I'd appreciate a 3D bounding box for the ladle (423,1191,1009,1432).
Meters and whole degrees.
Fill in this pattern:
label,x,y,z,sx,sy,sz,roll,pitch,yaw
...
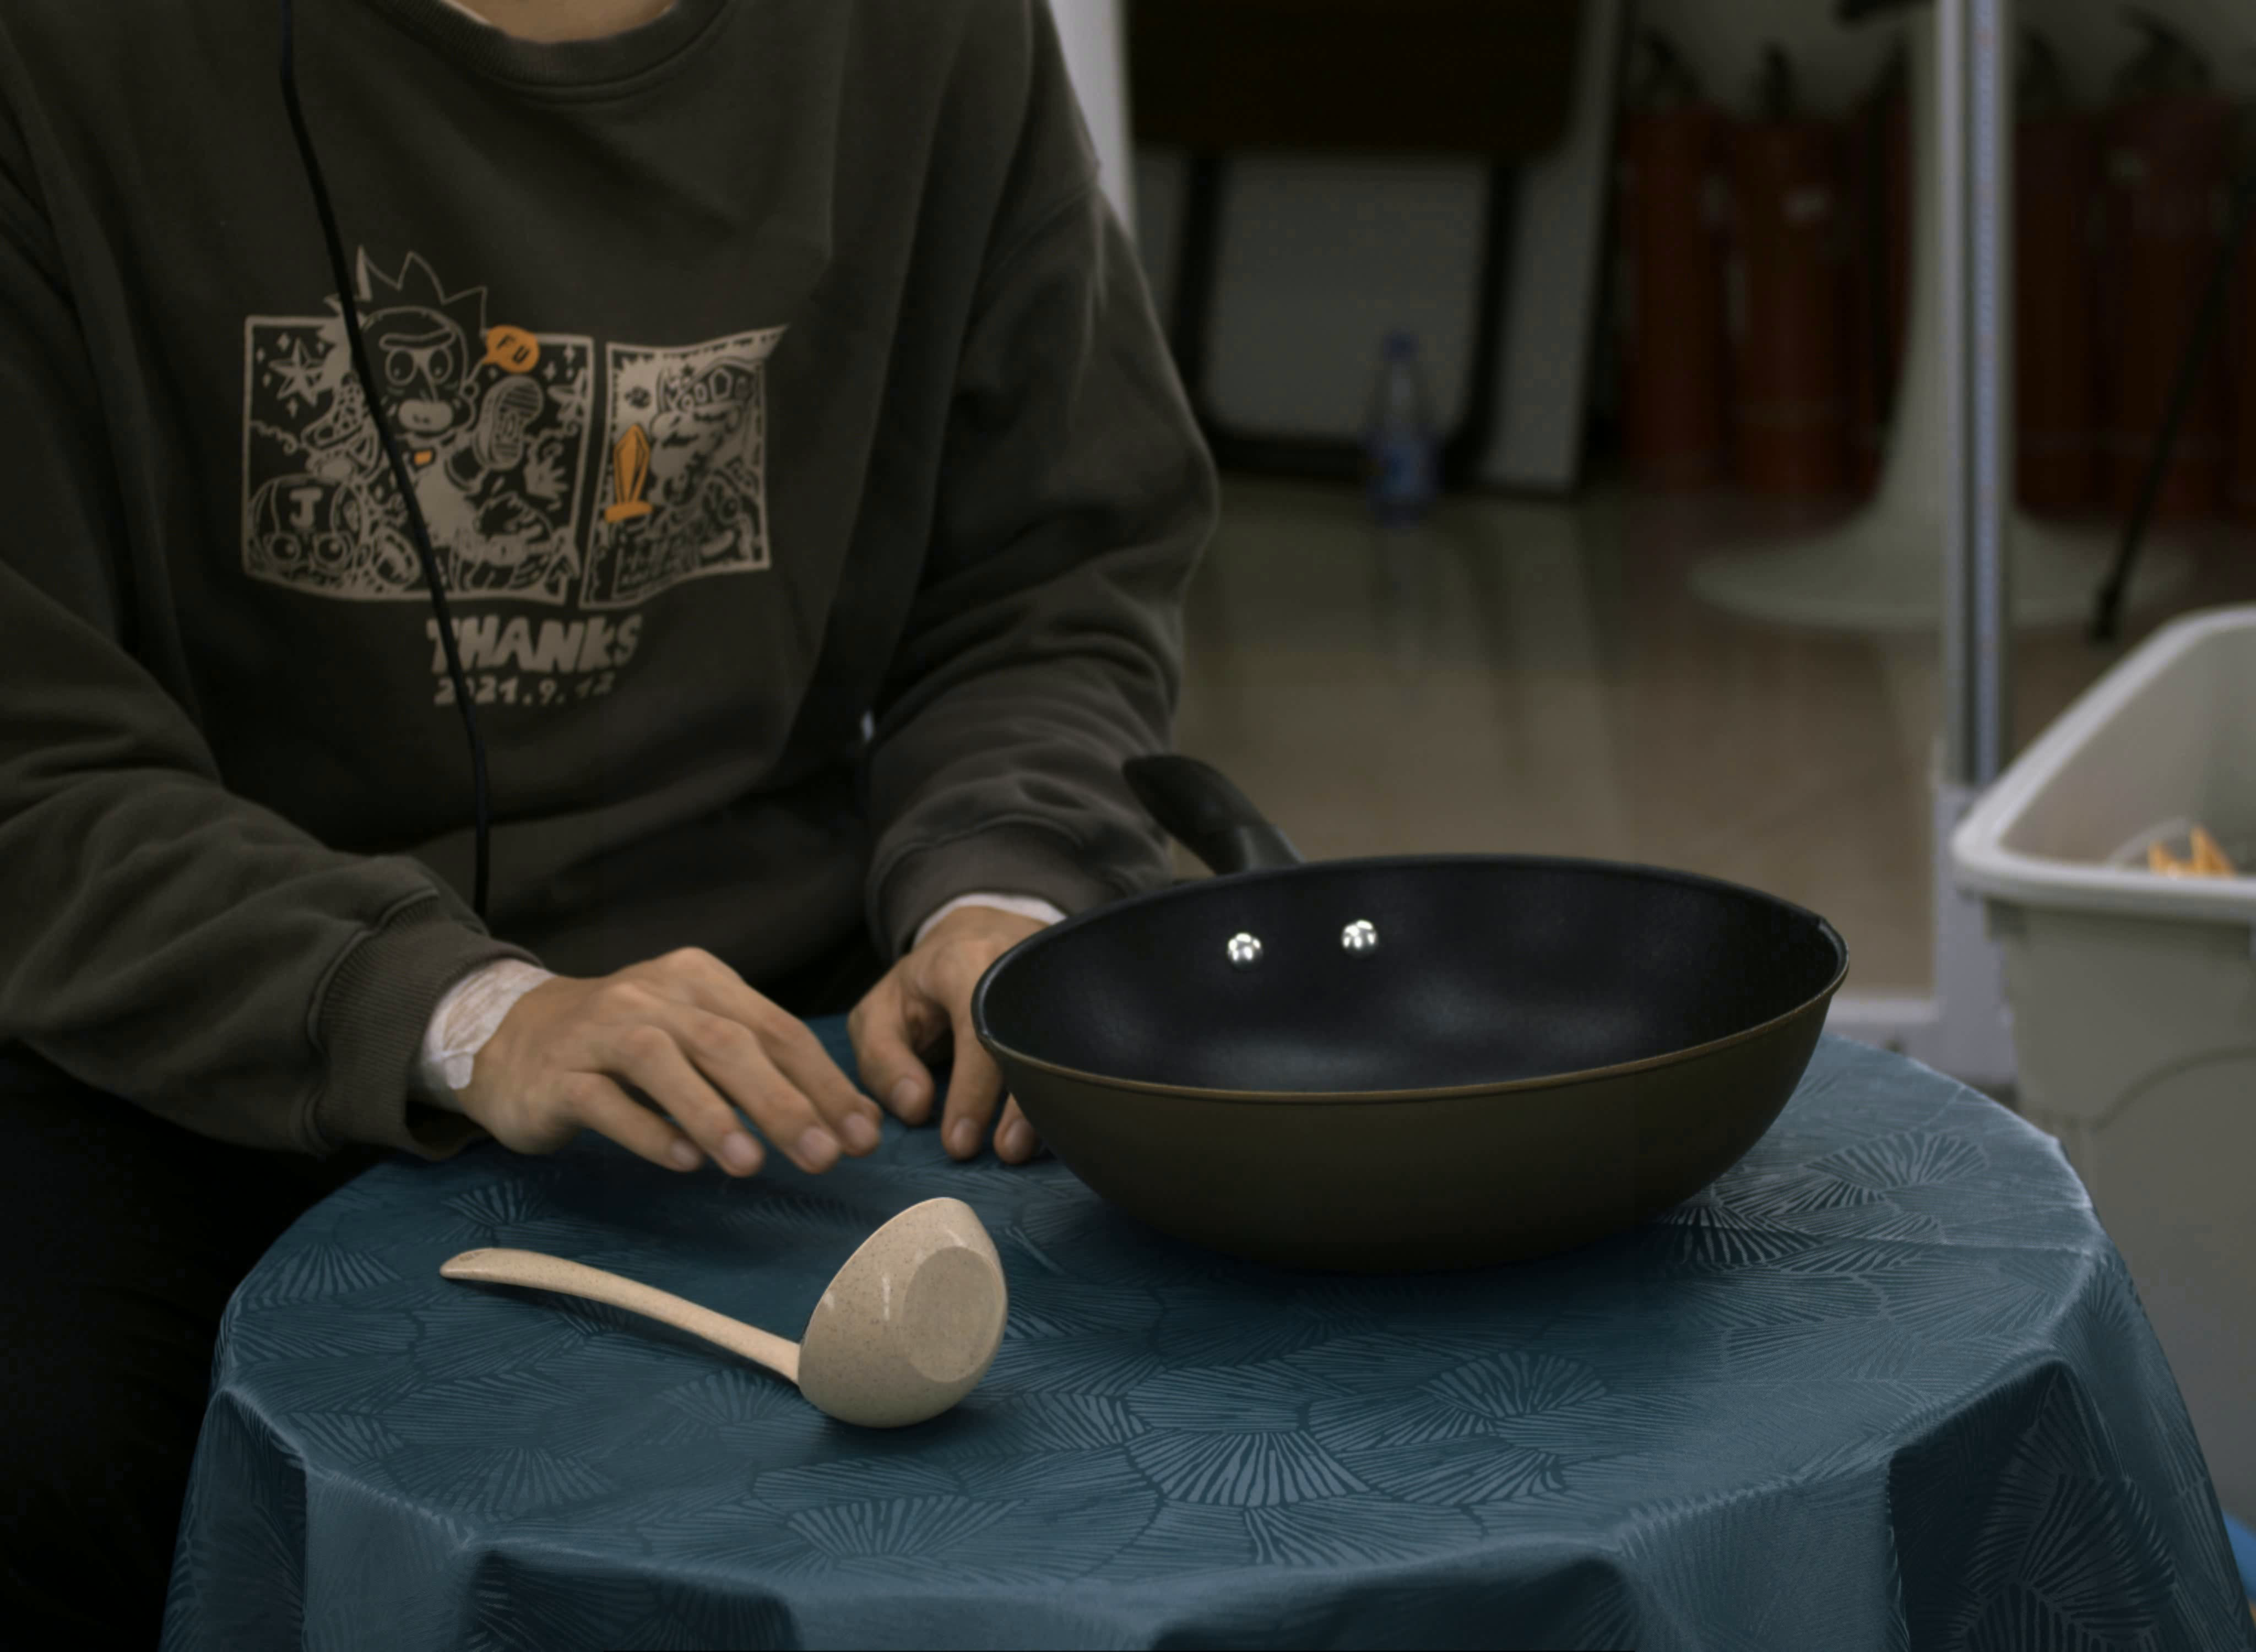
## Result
label,x,y,z,sx,sy,sz,roll,pitch,yaw
ladle,-0.138,0.128,1.635,0.257,0.073,0.071,10,28,44

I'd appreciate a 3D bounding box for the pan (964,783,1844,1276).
label,x,y,z,sx,sy,sz,roll,pitch,yaw
pan,0.068,0.065,1.815,0.283,0.088,0.466,-7,13,-12
